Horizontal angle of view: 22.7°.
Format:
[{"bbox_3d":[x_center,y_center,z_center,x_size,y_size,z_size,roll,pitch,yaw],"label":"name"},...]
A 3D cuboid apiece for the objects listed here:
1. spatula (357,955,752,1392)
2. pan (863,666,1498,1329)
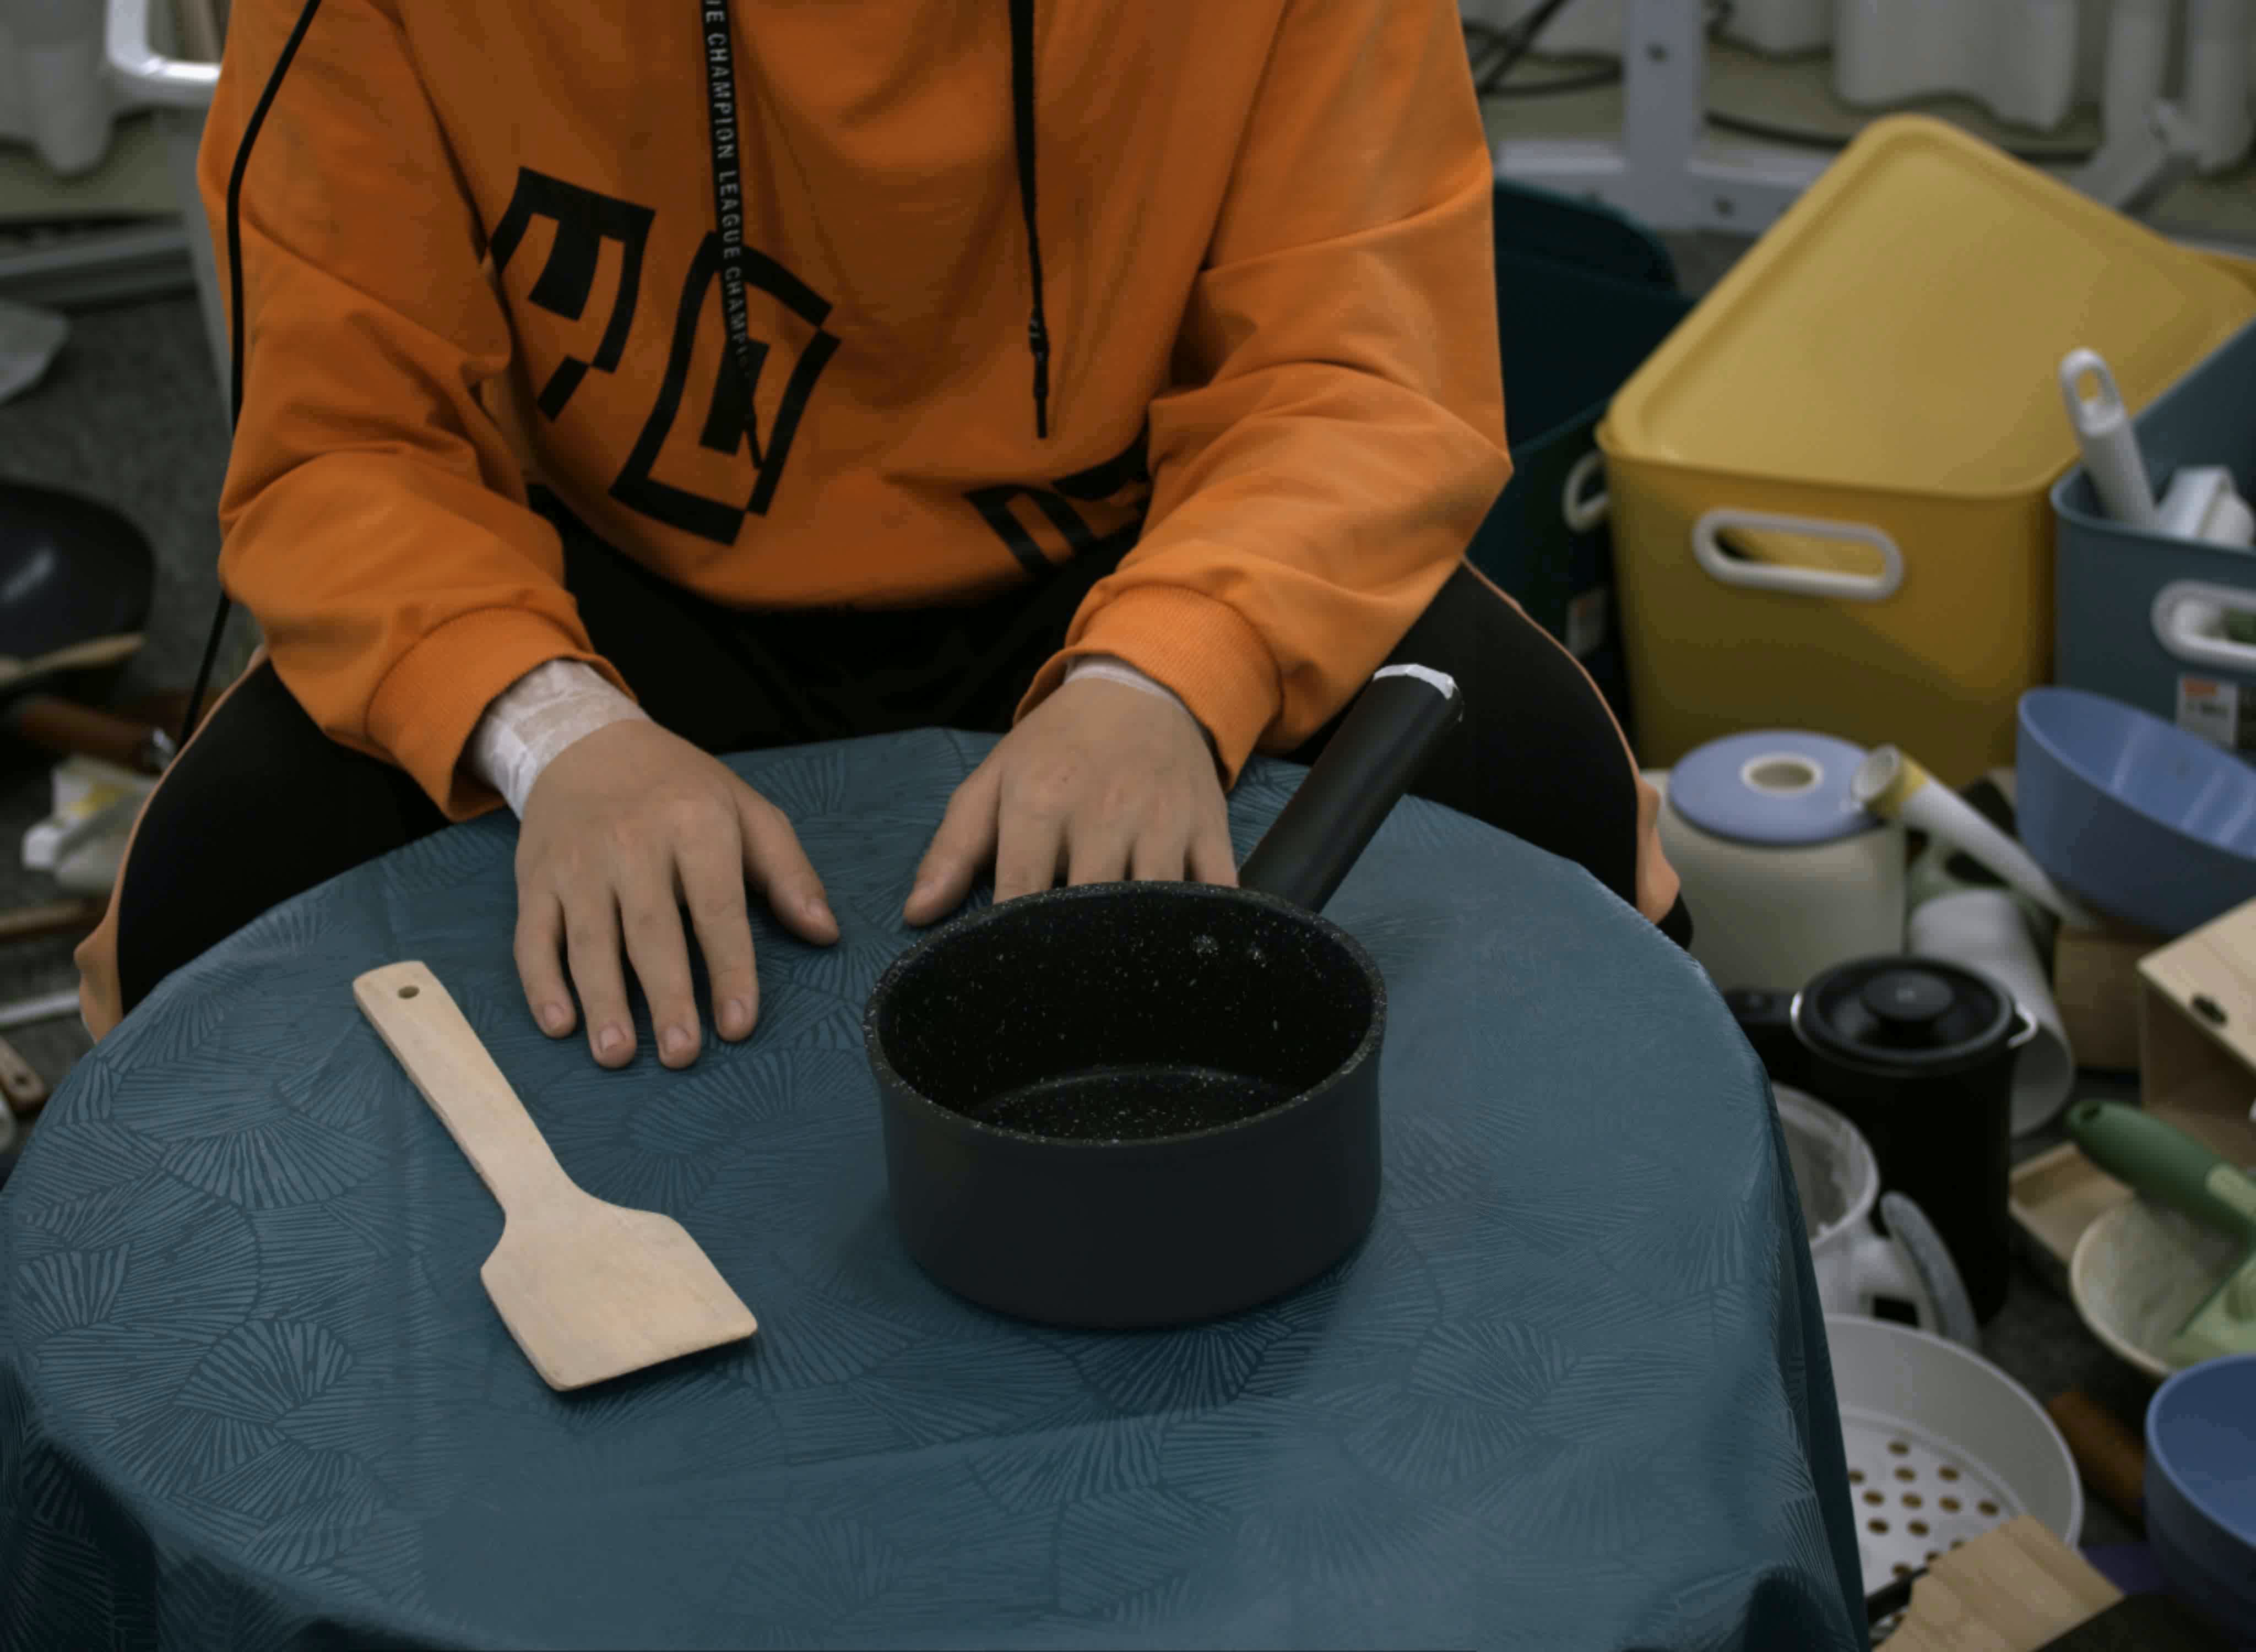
[{"bbox_3d":[-0.208,0.112,1.892,0.072,0.010,0.295,-17,30,-18],"label":"spatula"},{"bbox_3d":[0.039,0.054,1.899,0.171,0.085,0.334,12,33,26],"label":"pan"}]
